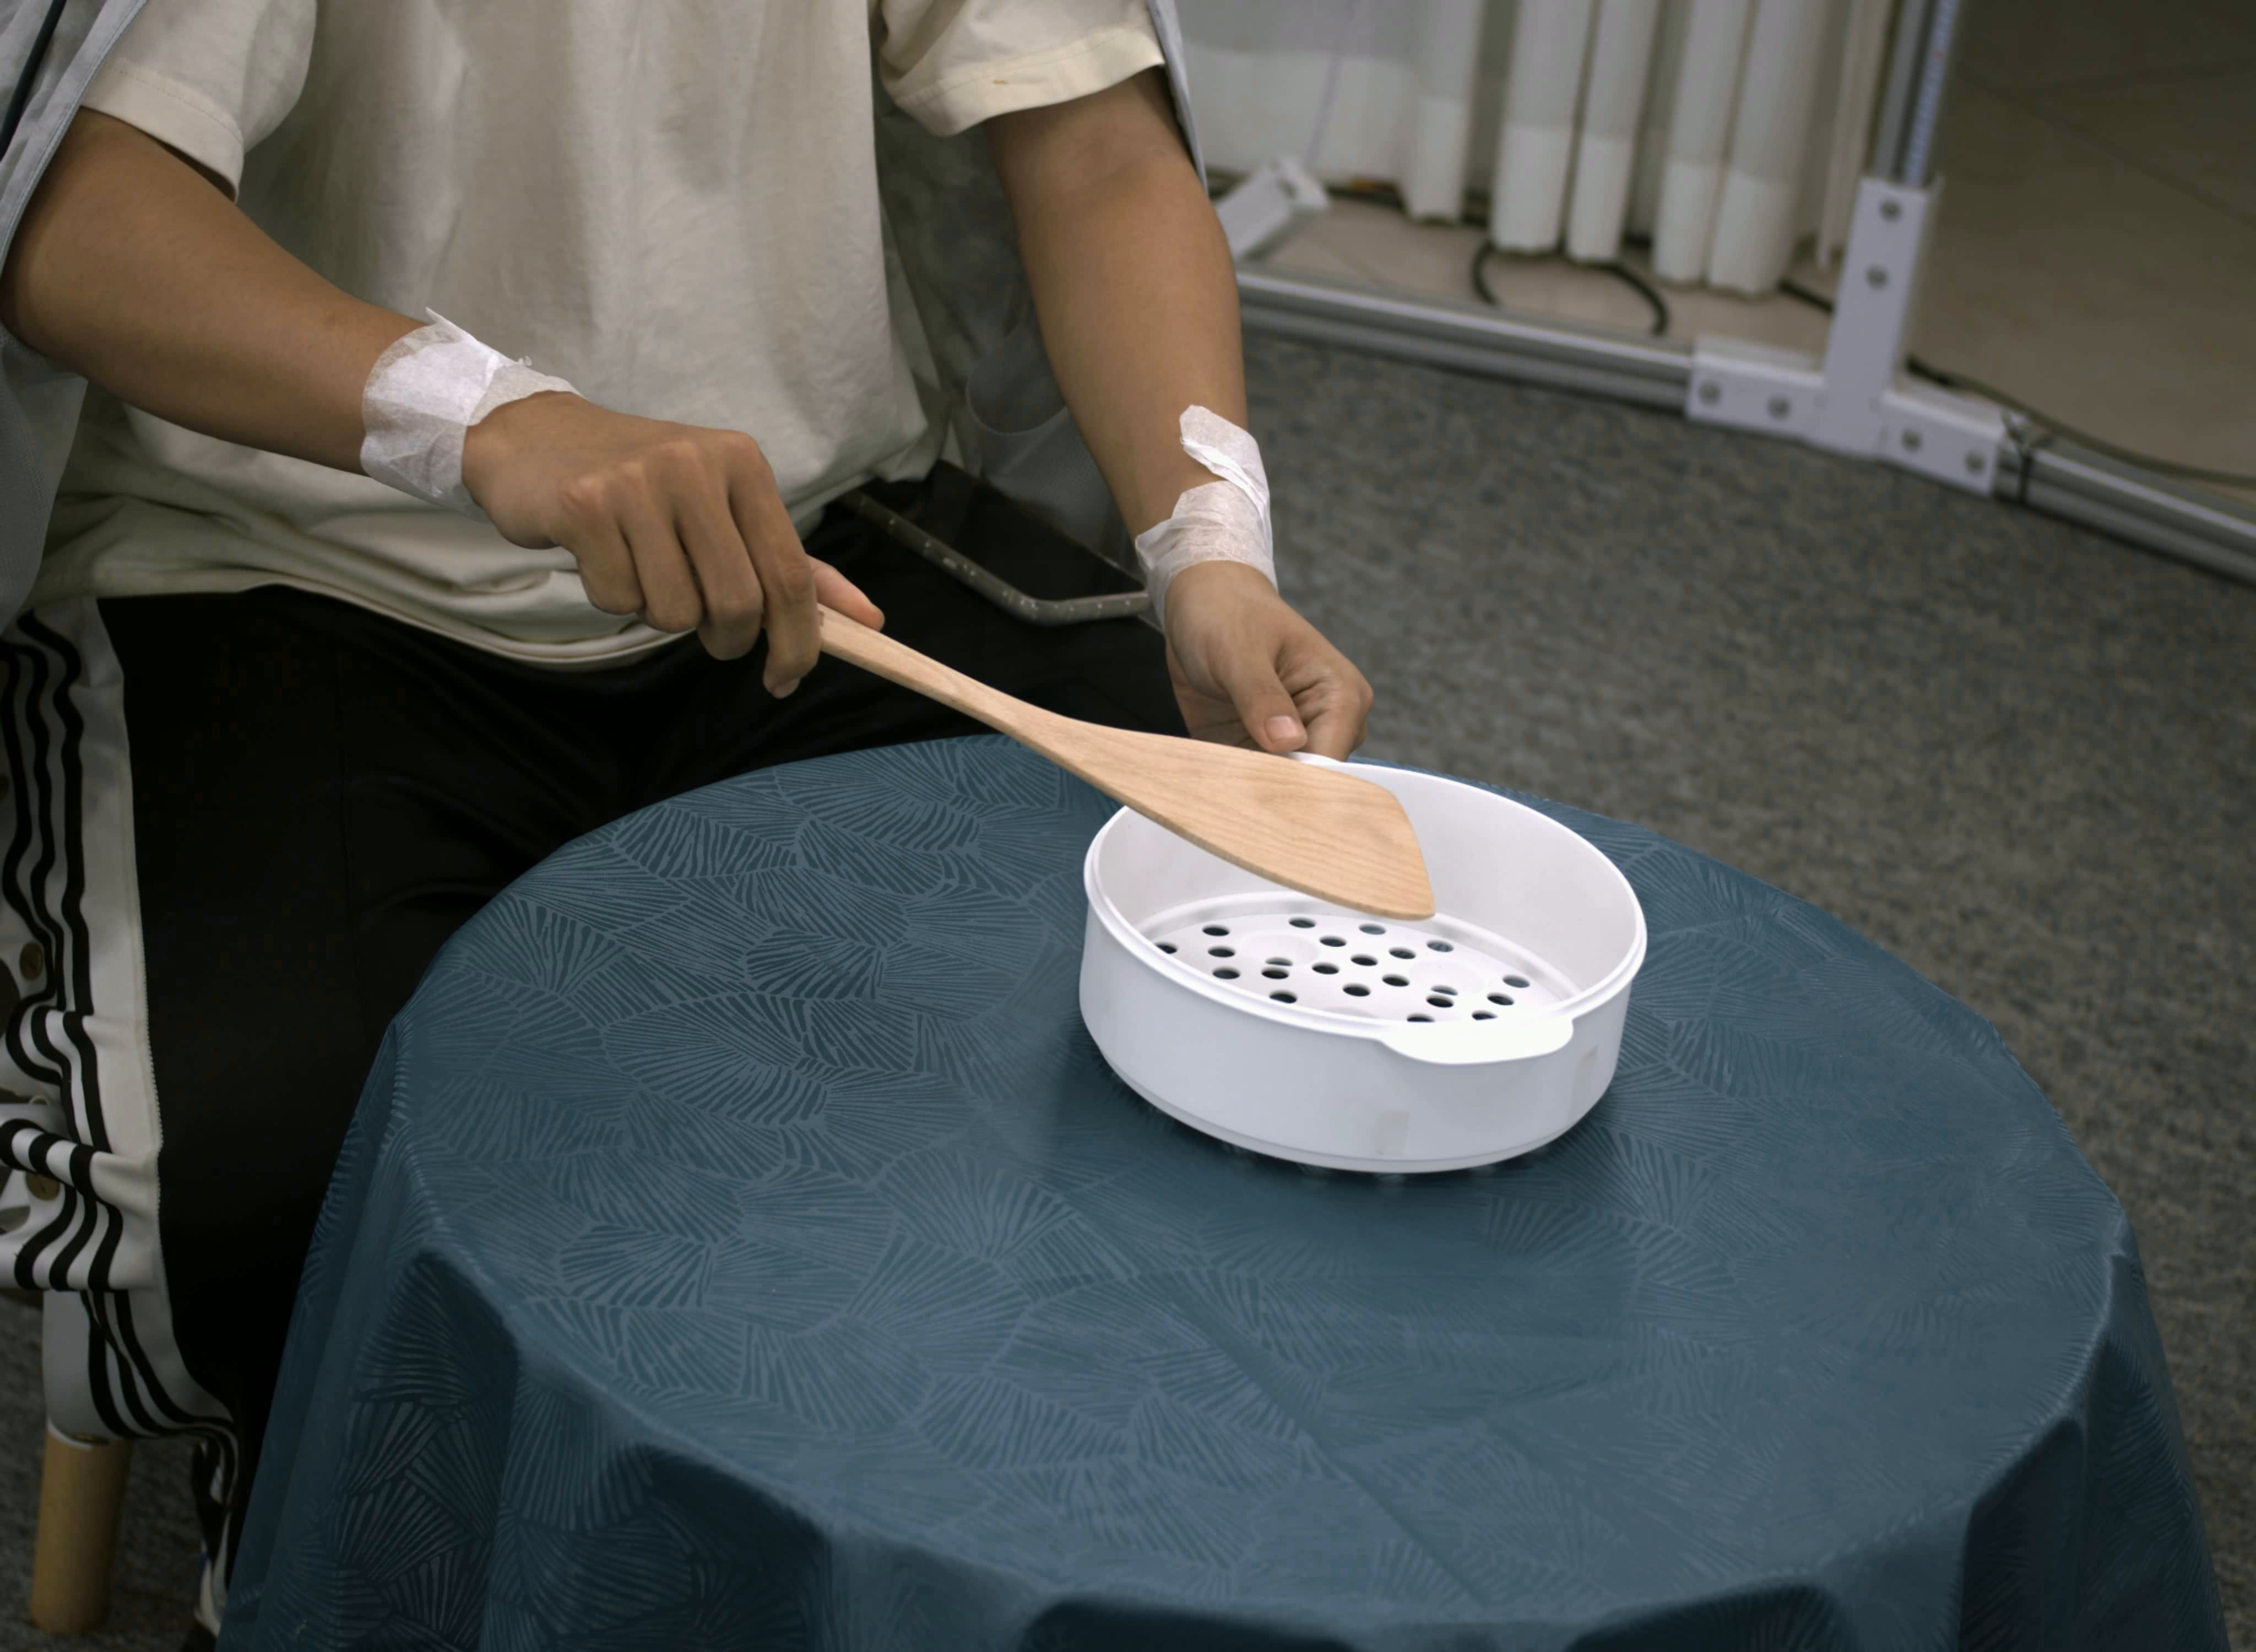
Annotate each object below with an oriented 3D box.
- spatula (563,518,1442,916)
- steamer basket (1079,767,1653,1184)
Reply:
[{"bbox_3d":[-0.042,-0.044,1.836,0.326,0.016,0.080,22,31,-12],"label":"spatula"},{"bbox_3d":[0.082,0.054,1.888,0.200,0.069,0.232,-3,28,-21],"label":"steamer basket"}]
